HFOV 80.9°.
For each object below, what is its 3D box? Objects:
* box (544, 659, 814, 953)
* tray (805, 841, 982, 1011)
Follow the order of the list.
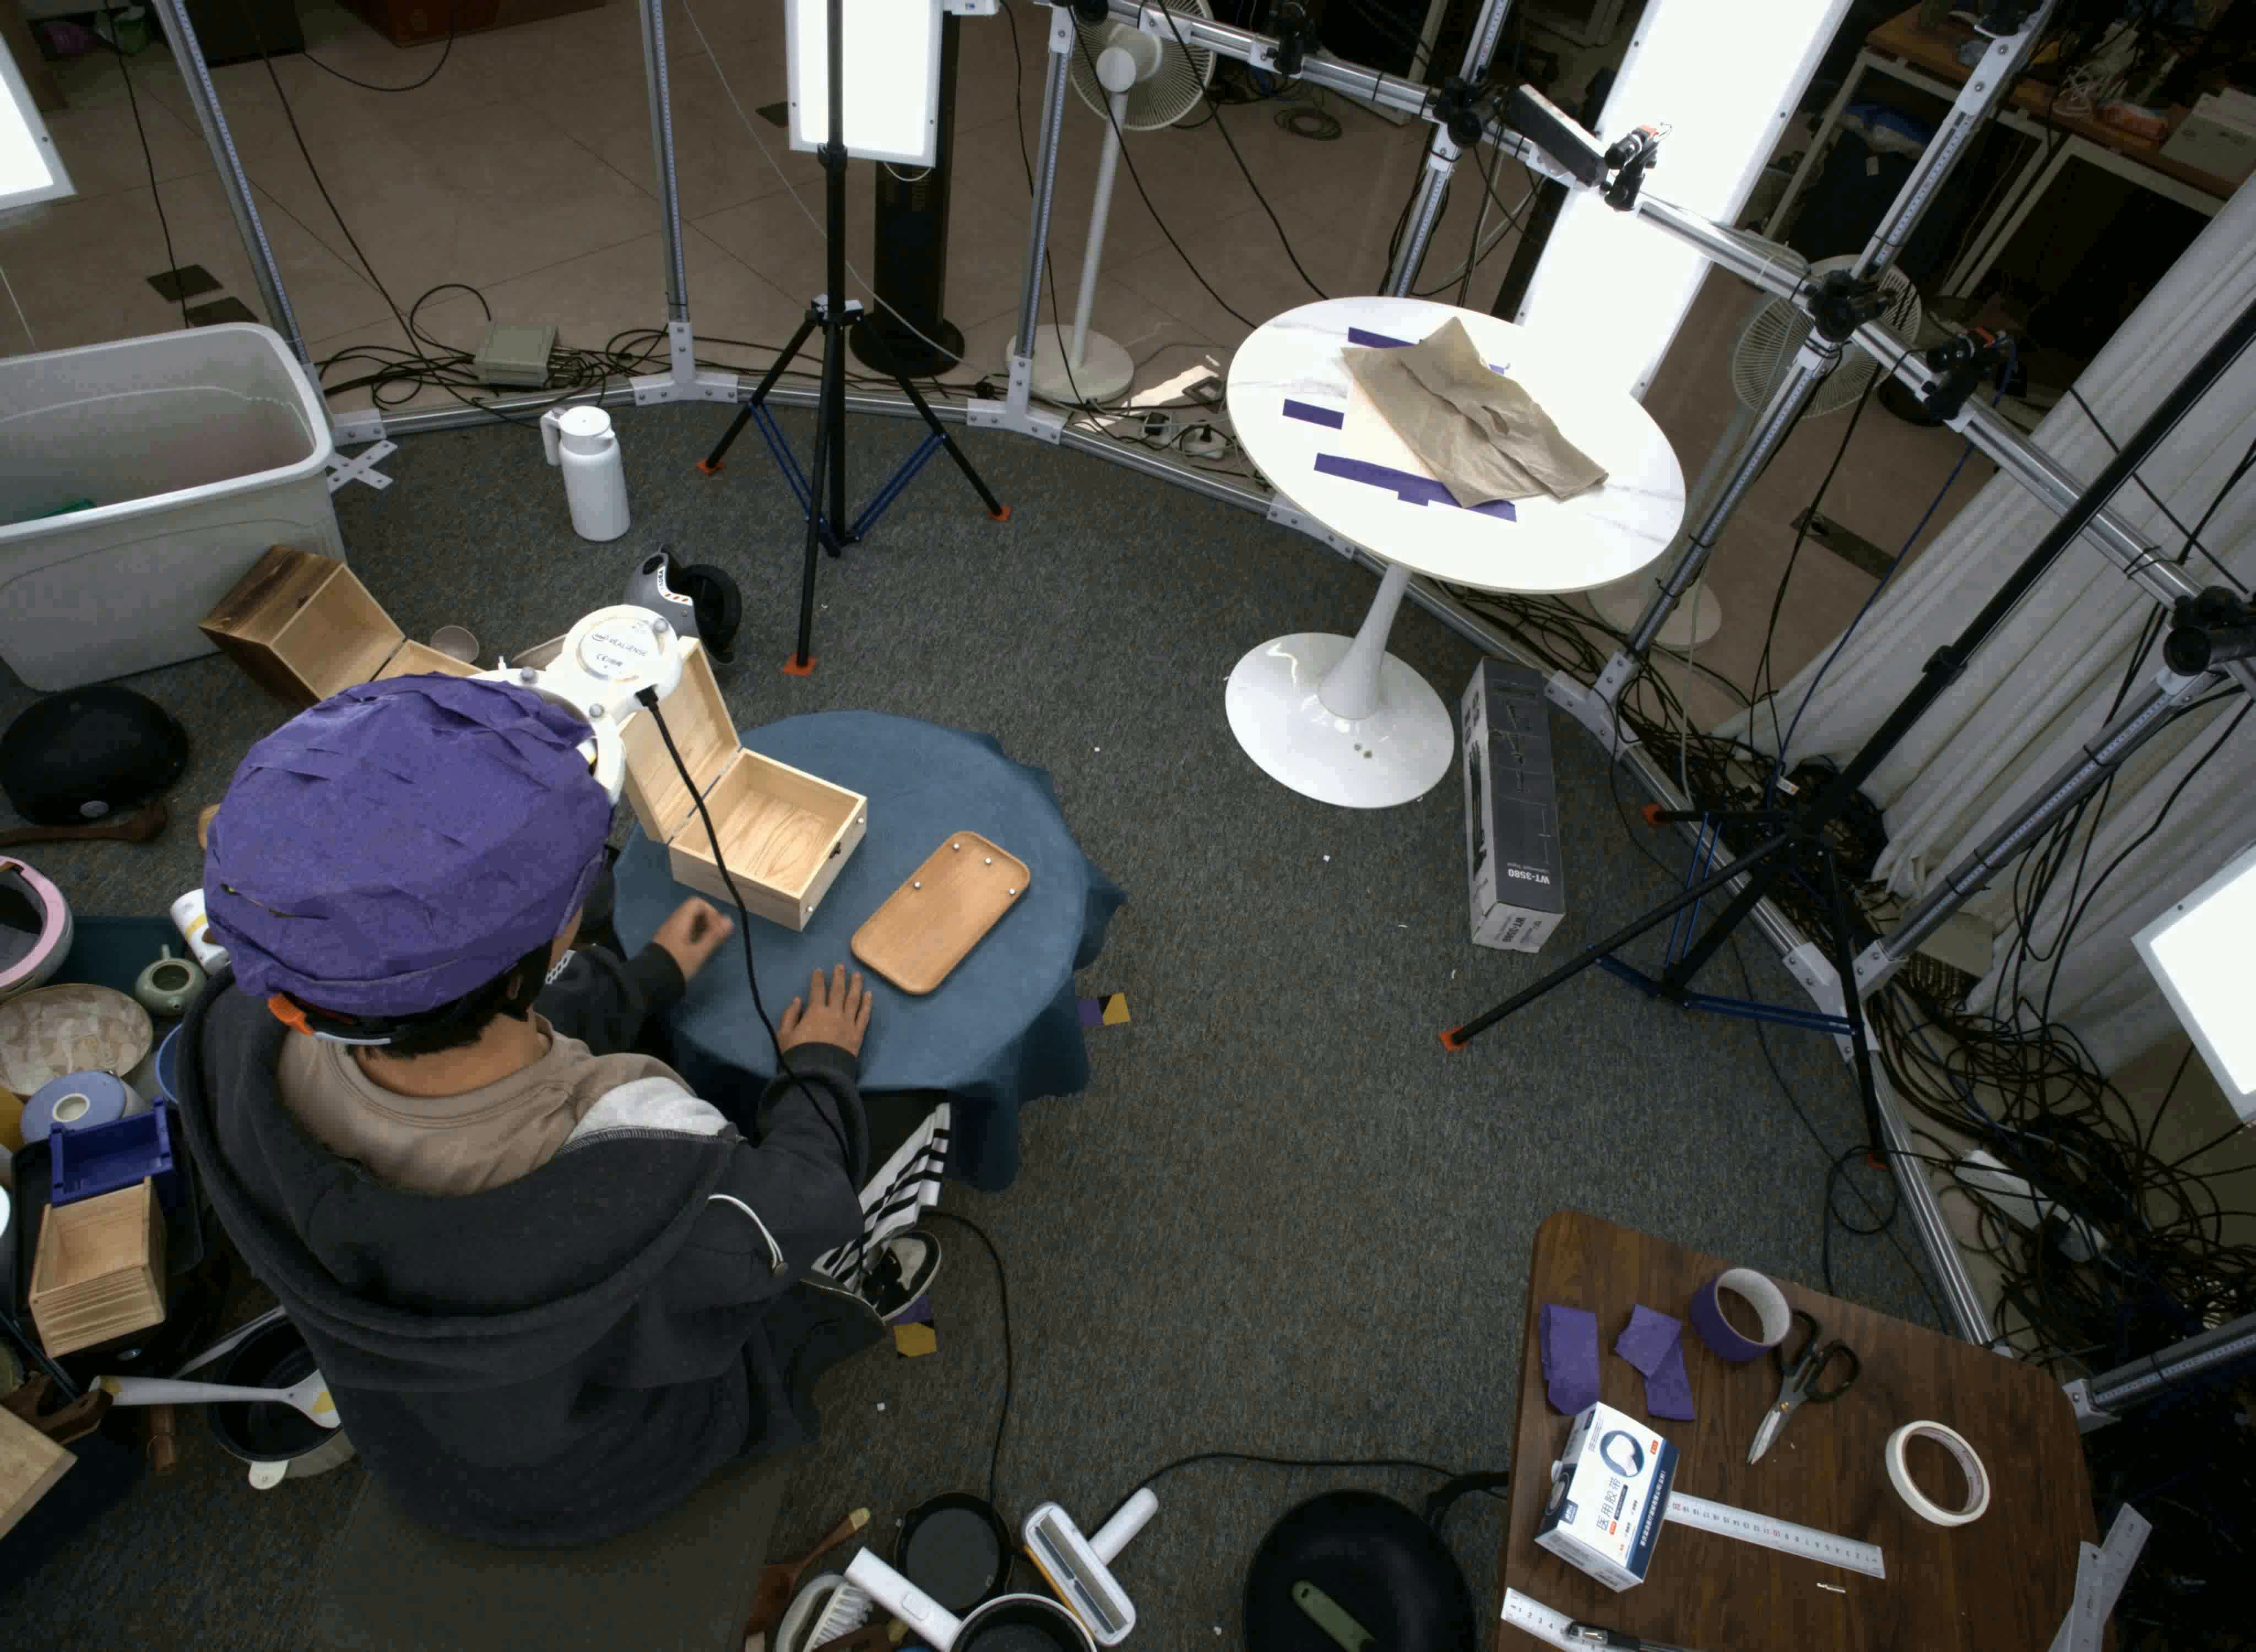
[{"bbox_3d":[-0.539,-0.024,1.559,0.262,0.259,0.180,17,53,2],"label":"box"},{"bbox_3d":[-0.296,0.122,1.659,0.128,0.023,0.250,28,52,11],"label":"tray"}]
